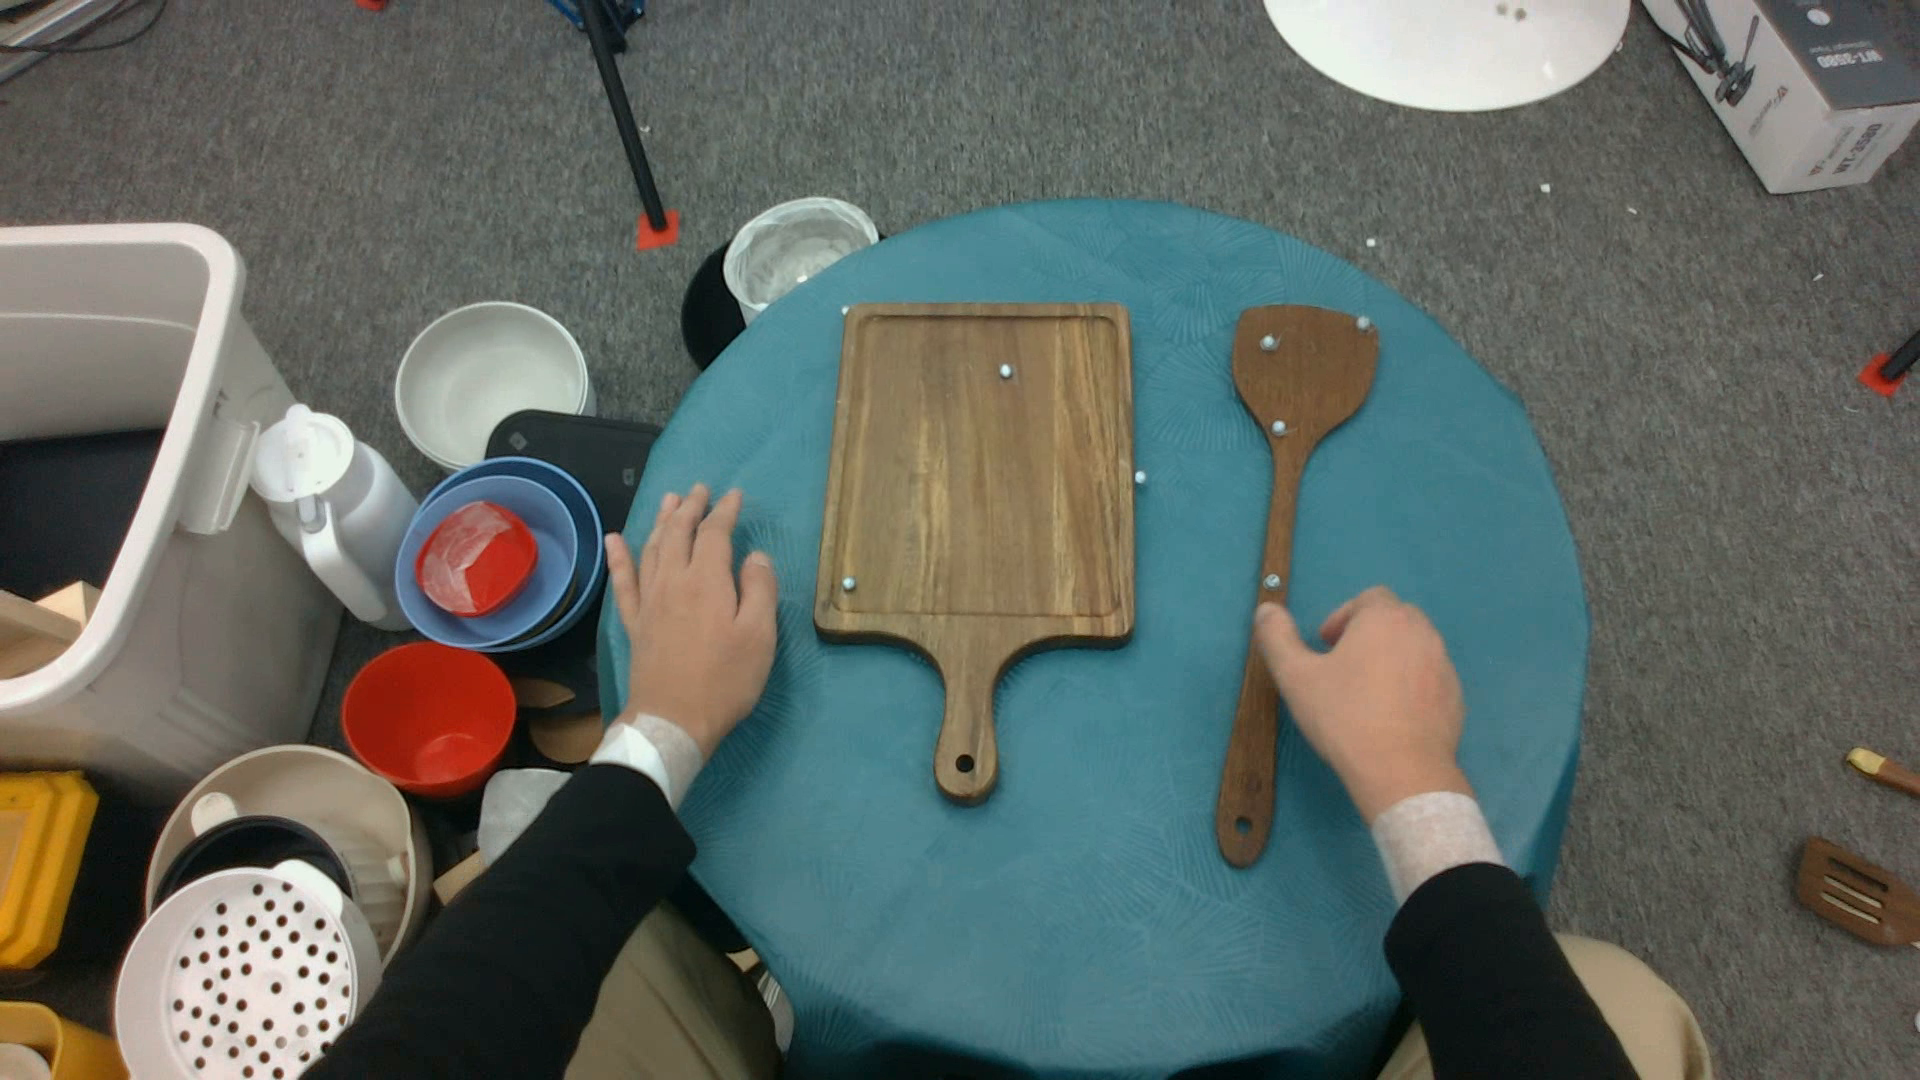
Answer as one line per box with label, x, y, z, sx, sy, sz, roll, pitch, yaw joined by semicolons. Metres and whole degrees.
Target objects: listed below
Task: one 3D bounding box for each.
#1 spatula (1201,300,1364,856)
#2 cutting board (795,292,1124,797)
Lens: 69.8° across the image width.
spatula;0.186;0.006;0.847;0.096;0.016;0.387;9;62;8
cutting board;0.000;-0.012;0.861;0.201;0.023;0.353;0;61;3
